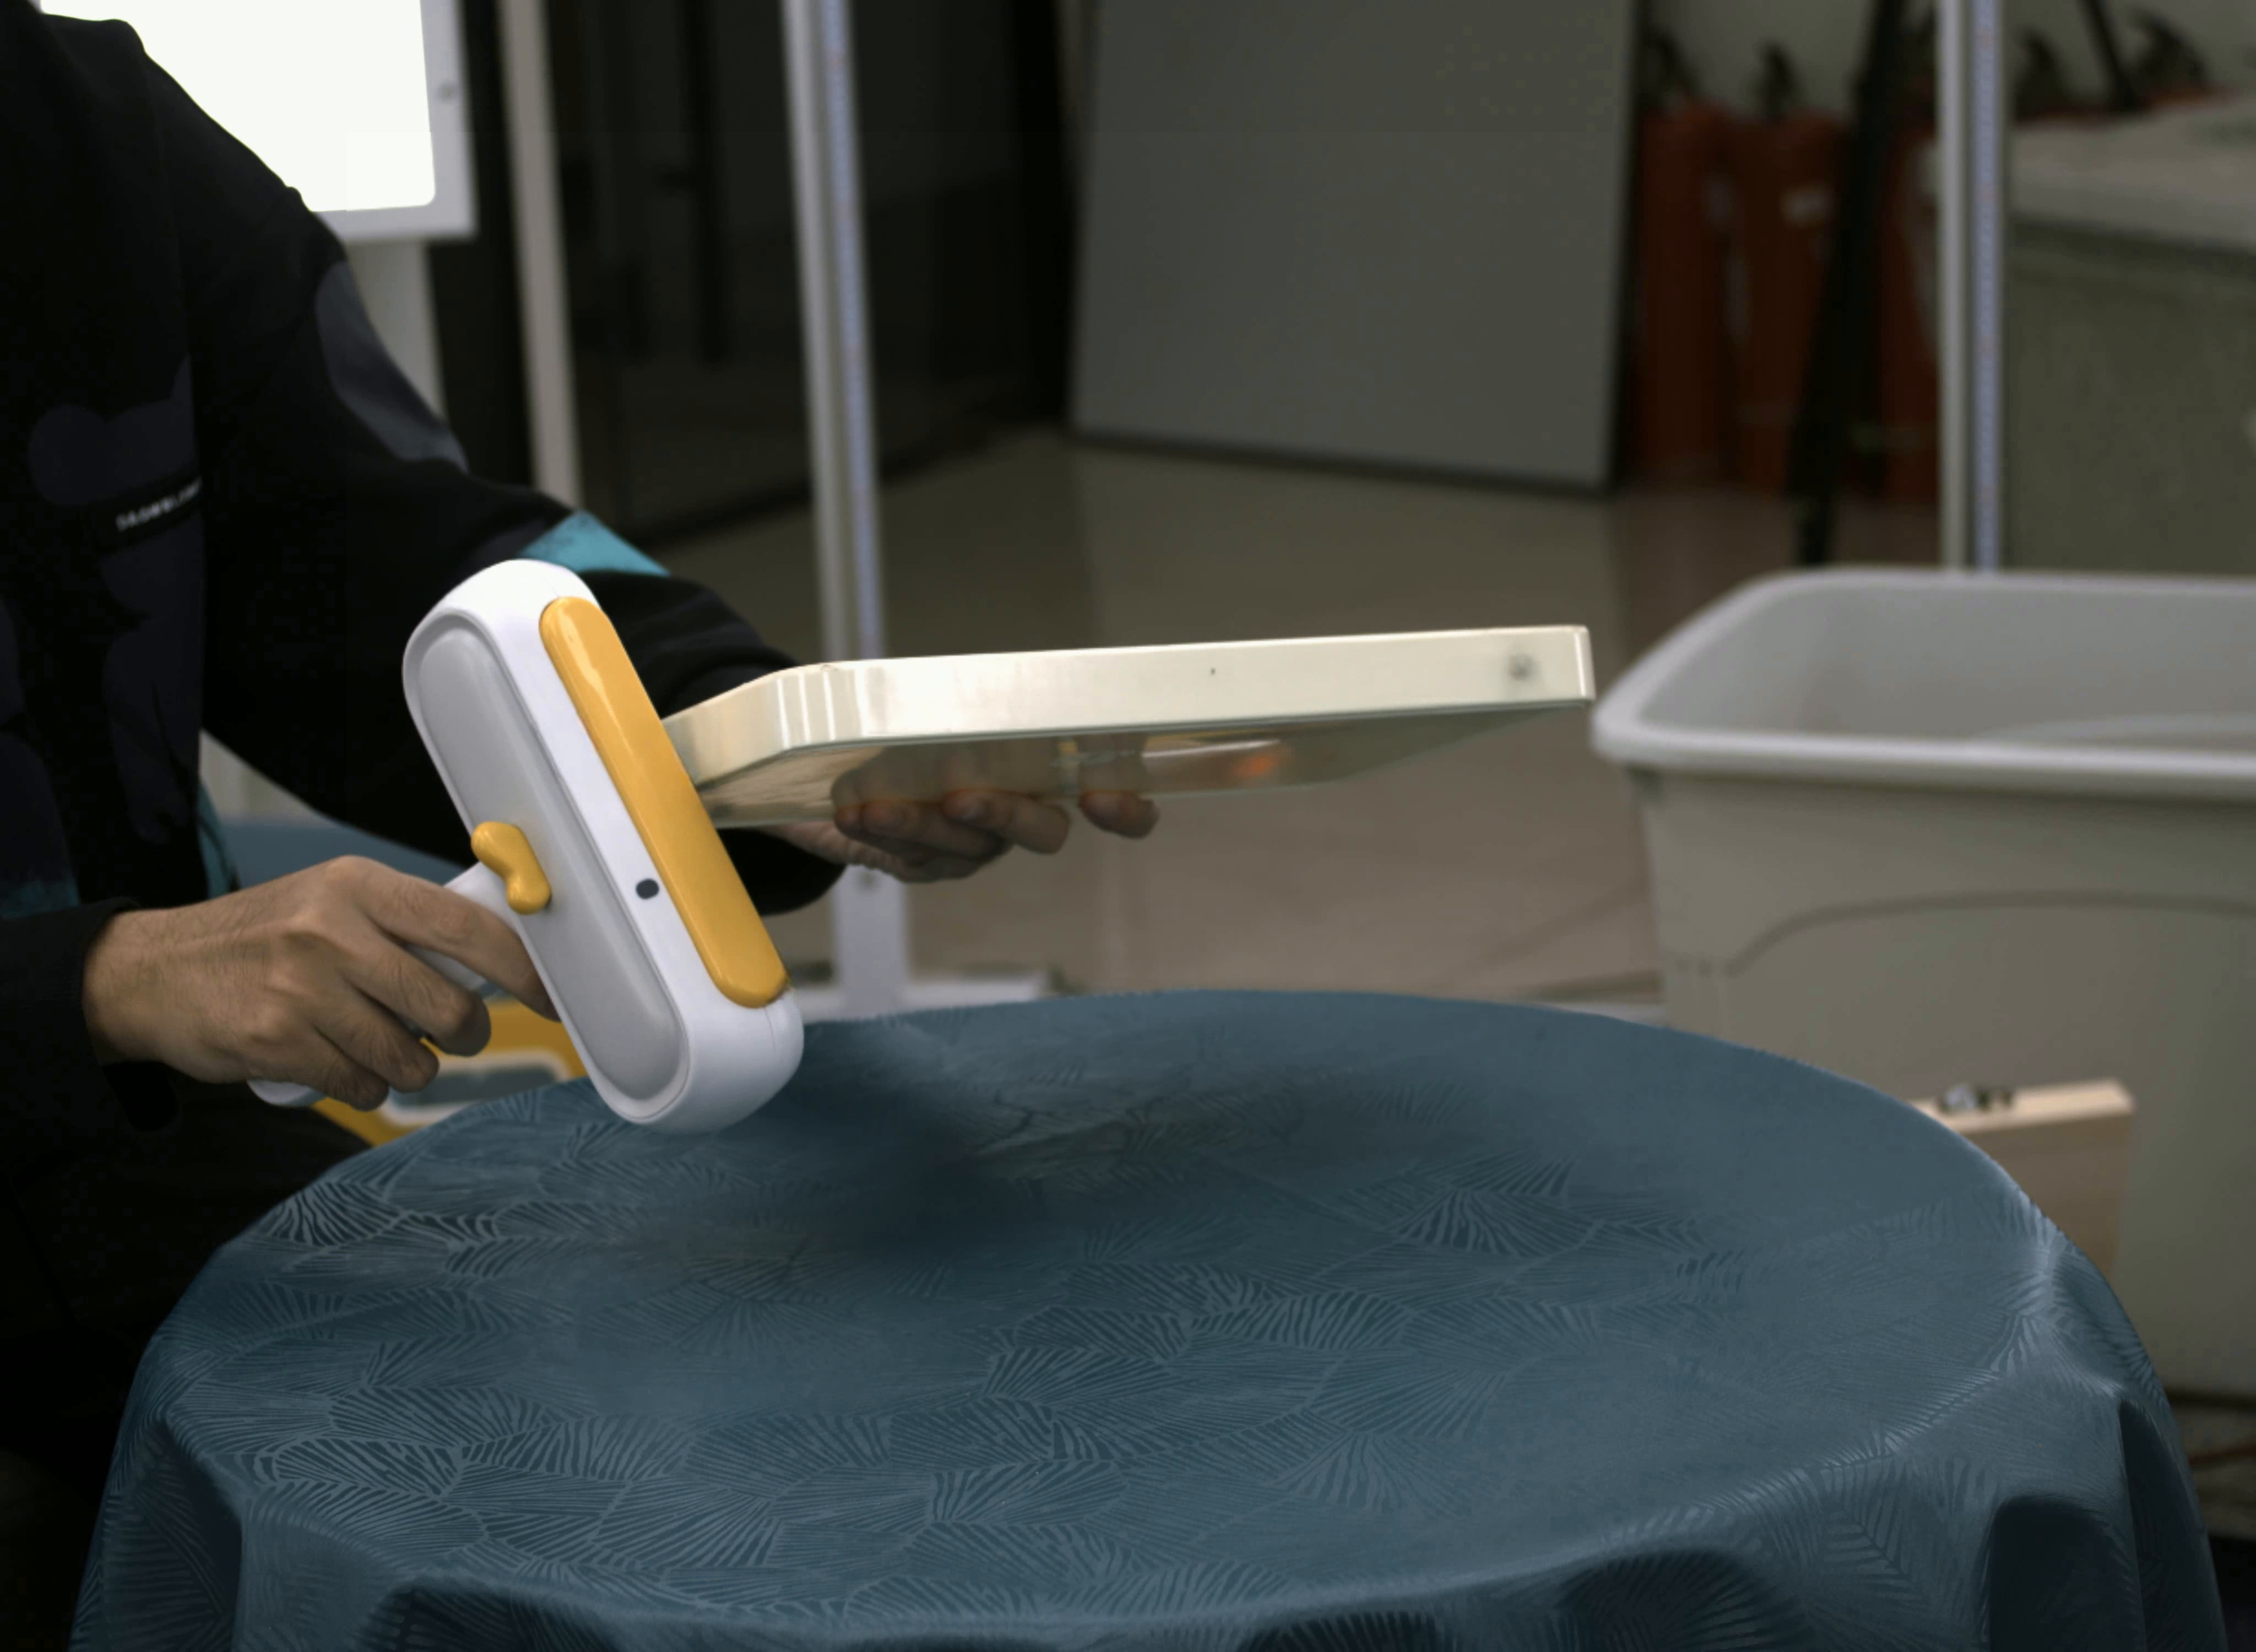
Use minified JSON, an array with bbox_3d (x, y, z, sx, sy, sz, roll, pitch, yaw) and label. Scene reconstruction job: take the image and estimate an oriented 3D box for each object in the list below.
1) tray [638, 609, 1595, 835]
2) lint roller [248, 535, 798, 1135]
[{"bbox_3d":[-0.013,-0.032,1.772,0.293,0.028,0.193,-4,-9,-27],"label":"tray"},{"bbox_3d":[-0.208,0.033,1.726,0.194,0.194,0.073,-41,-13,37],"label":"lint roller"}]
